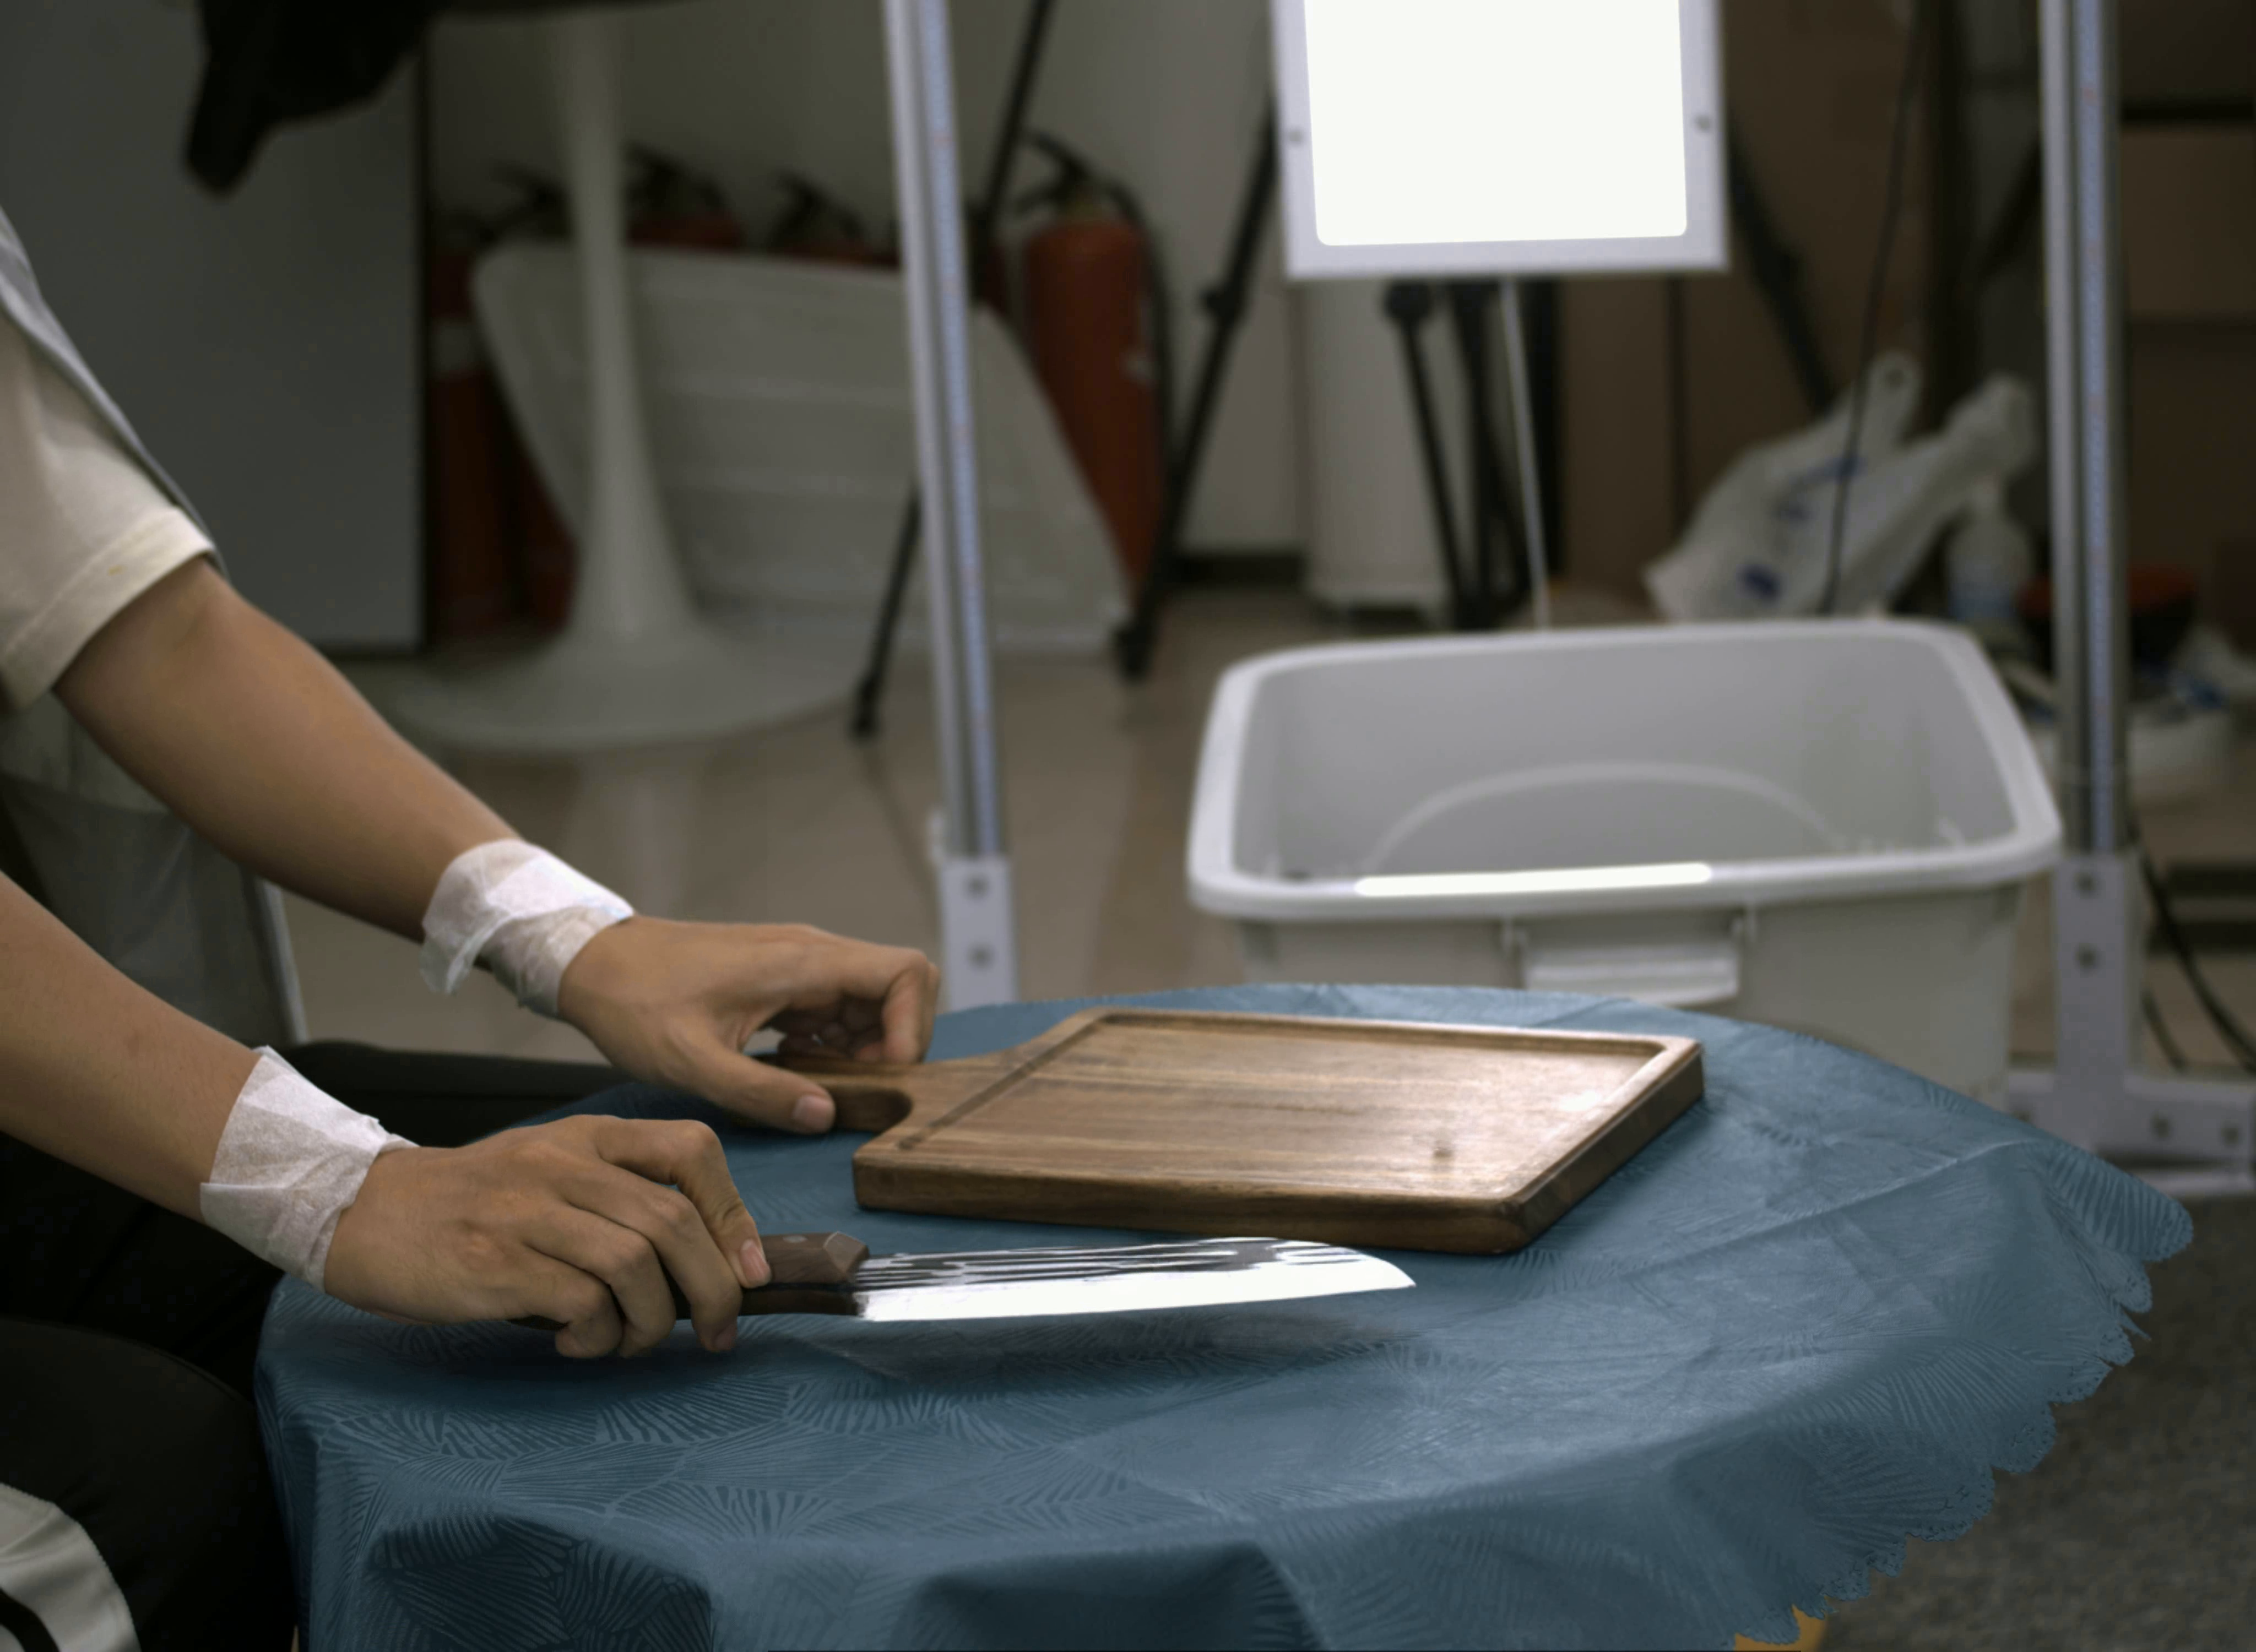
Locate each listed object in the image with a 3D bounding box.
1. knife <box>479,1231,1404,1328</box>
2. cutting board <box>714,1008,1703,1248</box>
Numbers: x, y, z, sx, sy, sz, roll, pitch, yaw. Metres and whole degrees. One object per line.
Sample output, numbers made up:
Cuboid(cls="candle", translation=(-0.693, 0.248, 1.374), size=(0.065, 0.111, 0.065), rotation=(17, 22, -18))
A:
Cuboid(cls="knife", translation=(-0.062, 0.144, 1.744), size=(0.300, 0.024, 0.067), rotation=(-3, 12, 6))
Cuboid(cls="cutting board", translation=(0.010, 0.102, 1.951), size=(0.358, 0.023, 0.197), rotation=(1, 15, 27))
